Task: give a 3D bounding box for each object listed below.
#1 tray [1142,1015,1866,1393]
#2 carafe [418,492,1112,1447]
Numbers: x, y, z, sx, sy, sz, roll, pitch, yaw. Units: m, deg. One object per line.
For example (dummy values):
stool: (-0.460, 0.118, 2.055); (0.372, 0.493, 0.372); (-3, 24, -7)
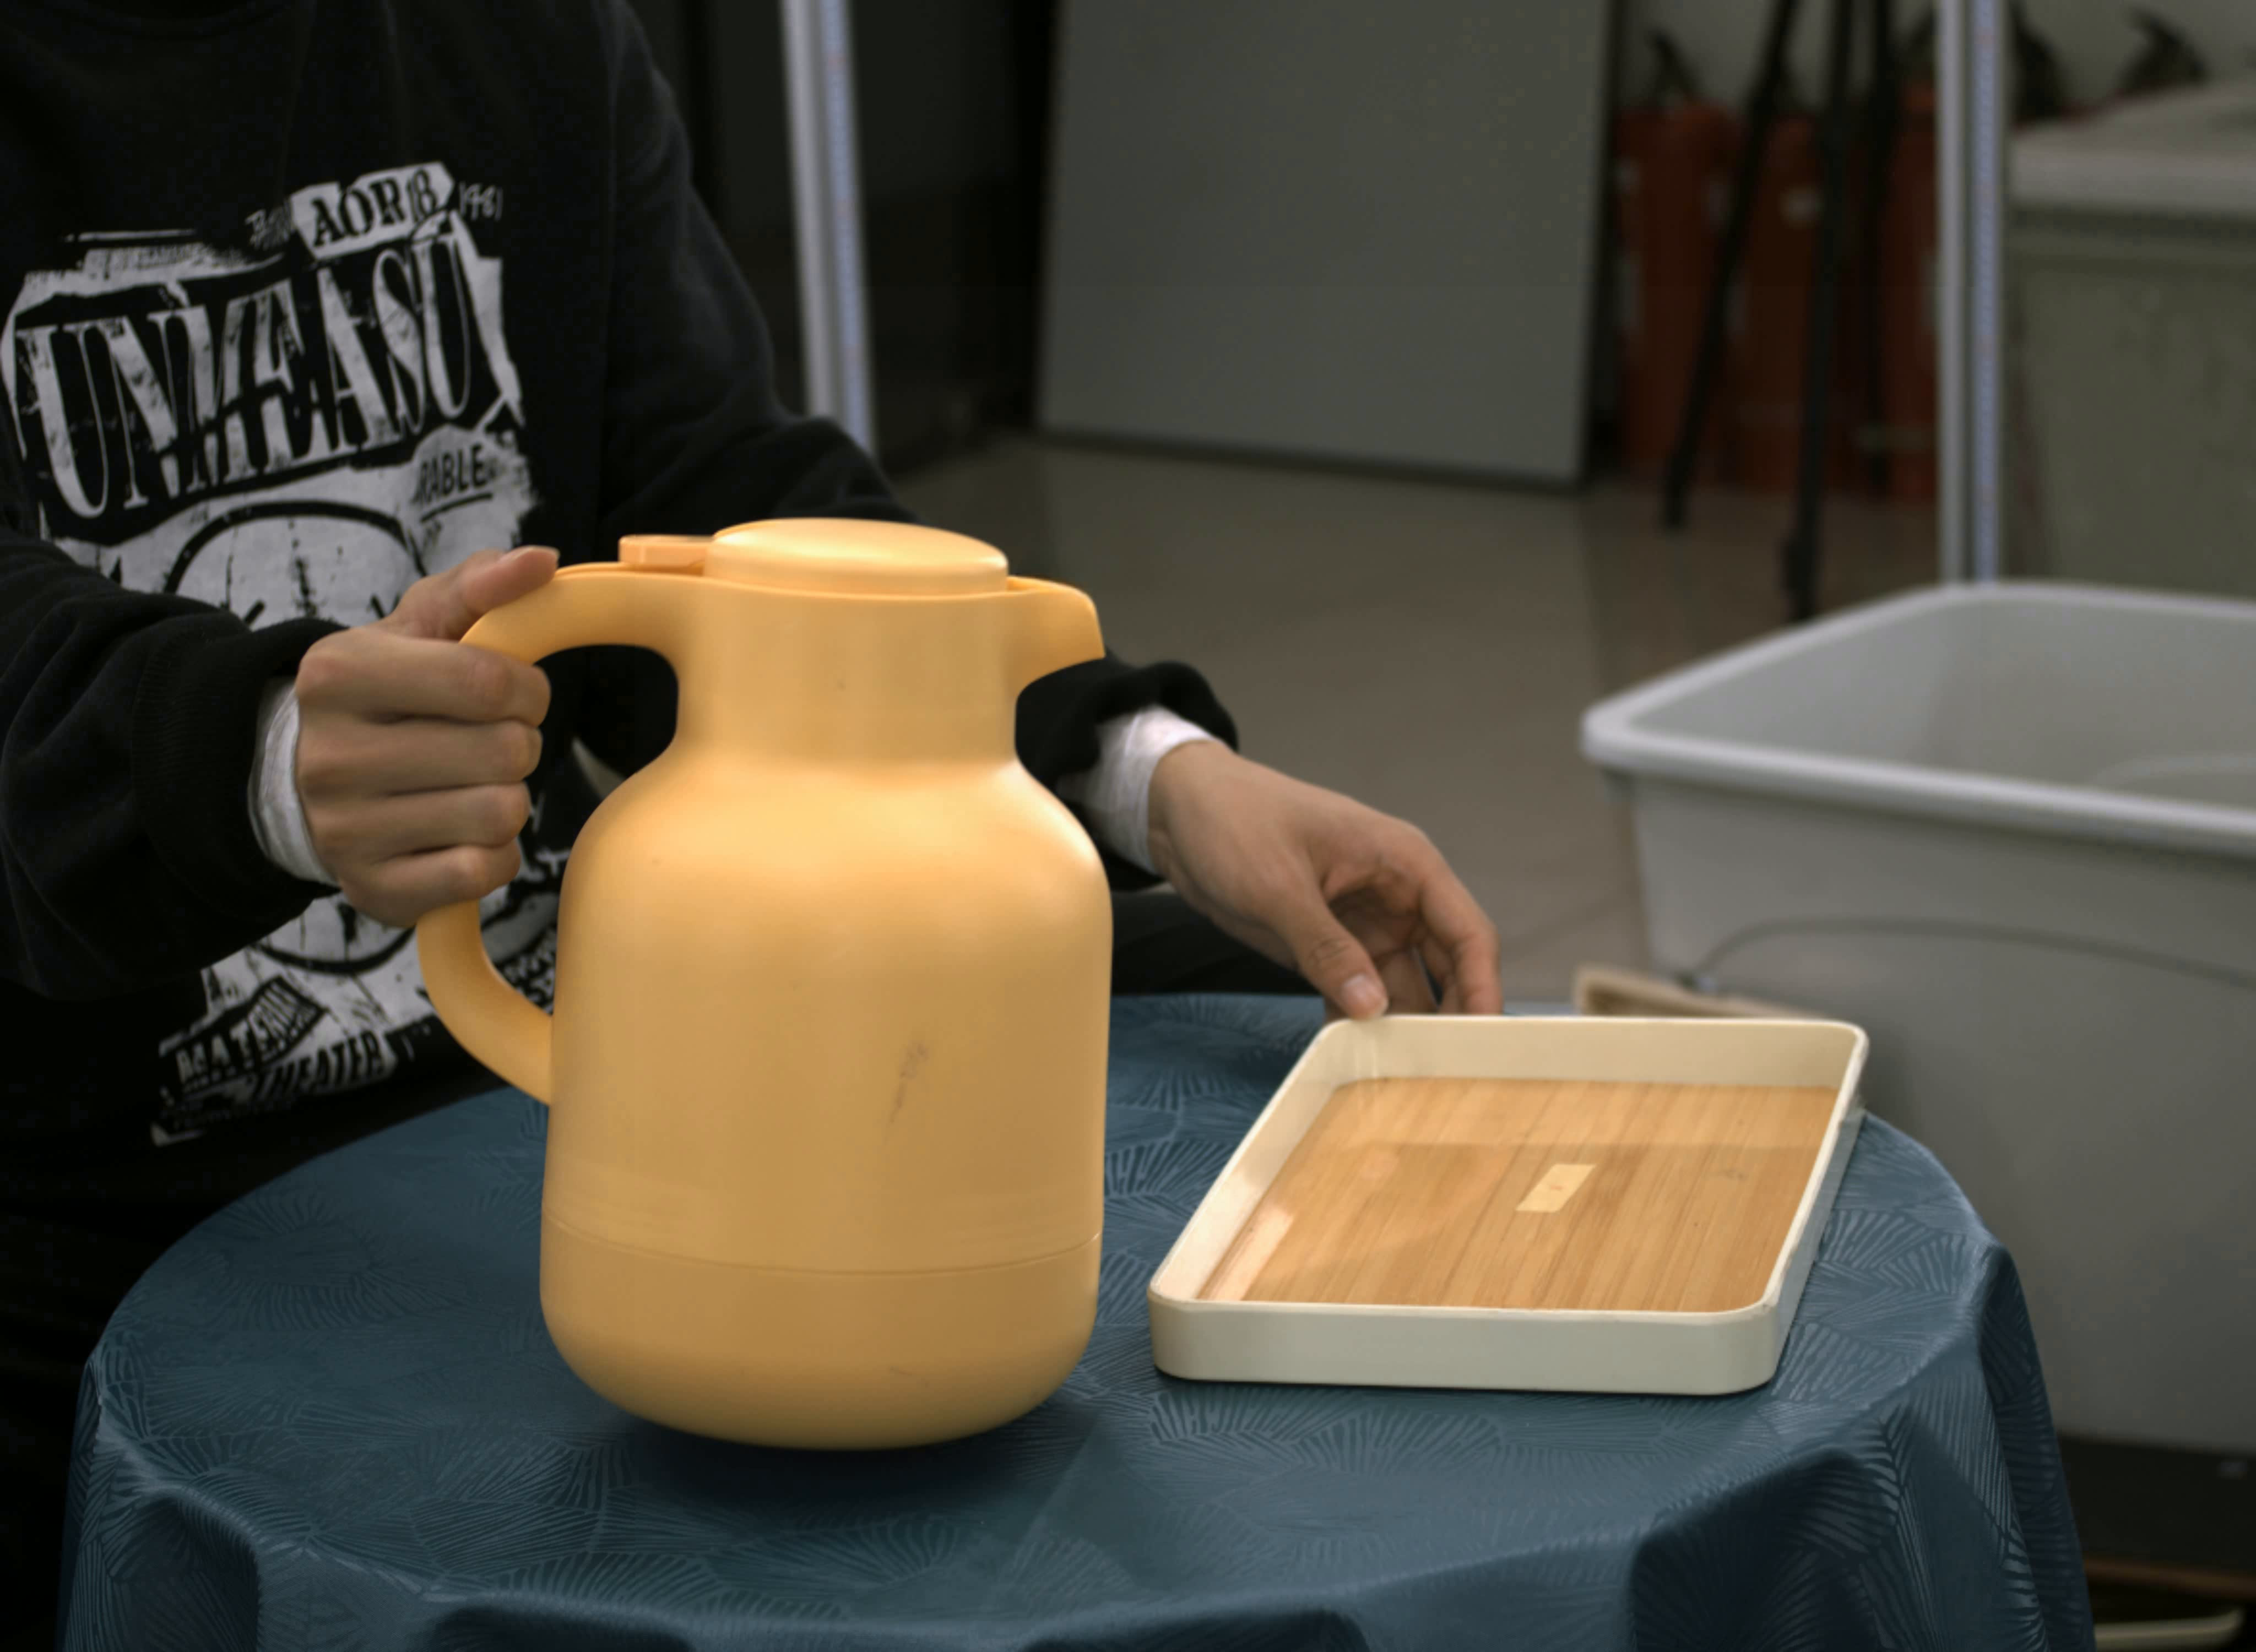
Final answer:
tray: (0.126, 0.115, 1.704); (0.191, 0.028, 0.298); (0, 14, 15)
carafe: (-0.104, 0.036, 1.549); (0.200, 0.264, 0.163); (4, 5, 1)
